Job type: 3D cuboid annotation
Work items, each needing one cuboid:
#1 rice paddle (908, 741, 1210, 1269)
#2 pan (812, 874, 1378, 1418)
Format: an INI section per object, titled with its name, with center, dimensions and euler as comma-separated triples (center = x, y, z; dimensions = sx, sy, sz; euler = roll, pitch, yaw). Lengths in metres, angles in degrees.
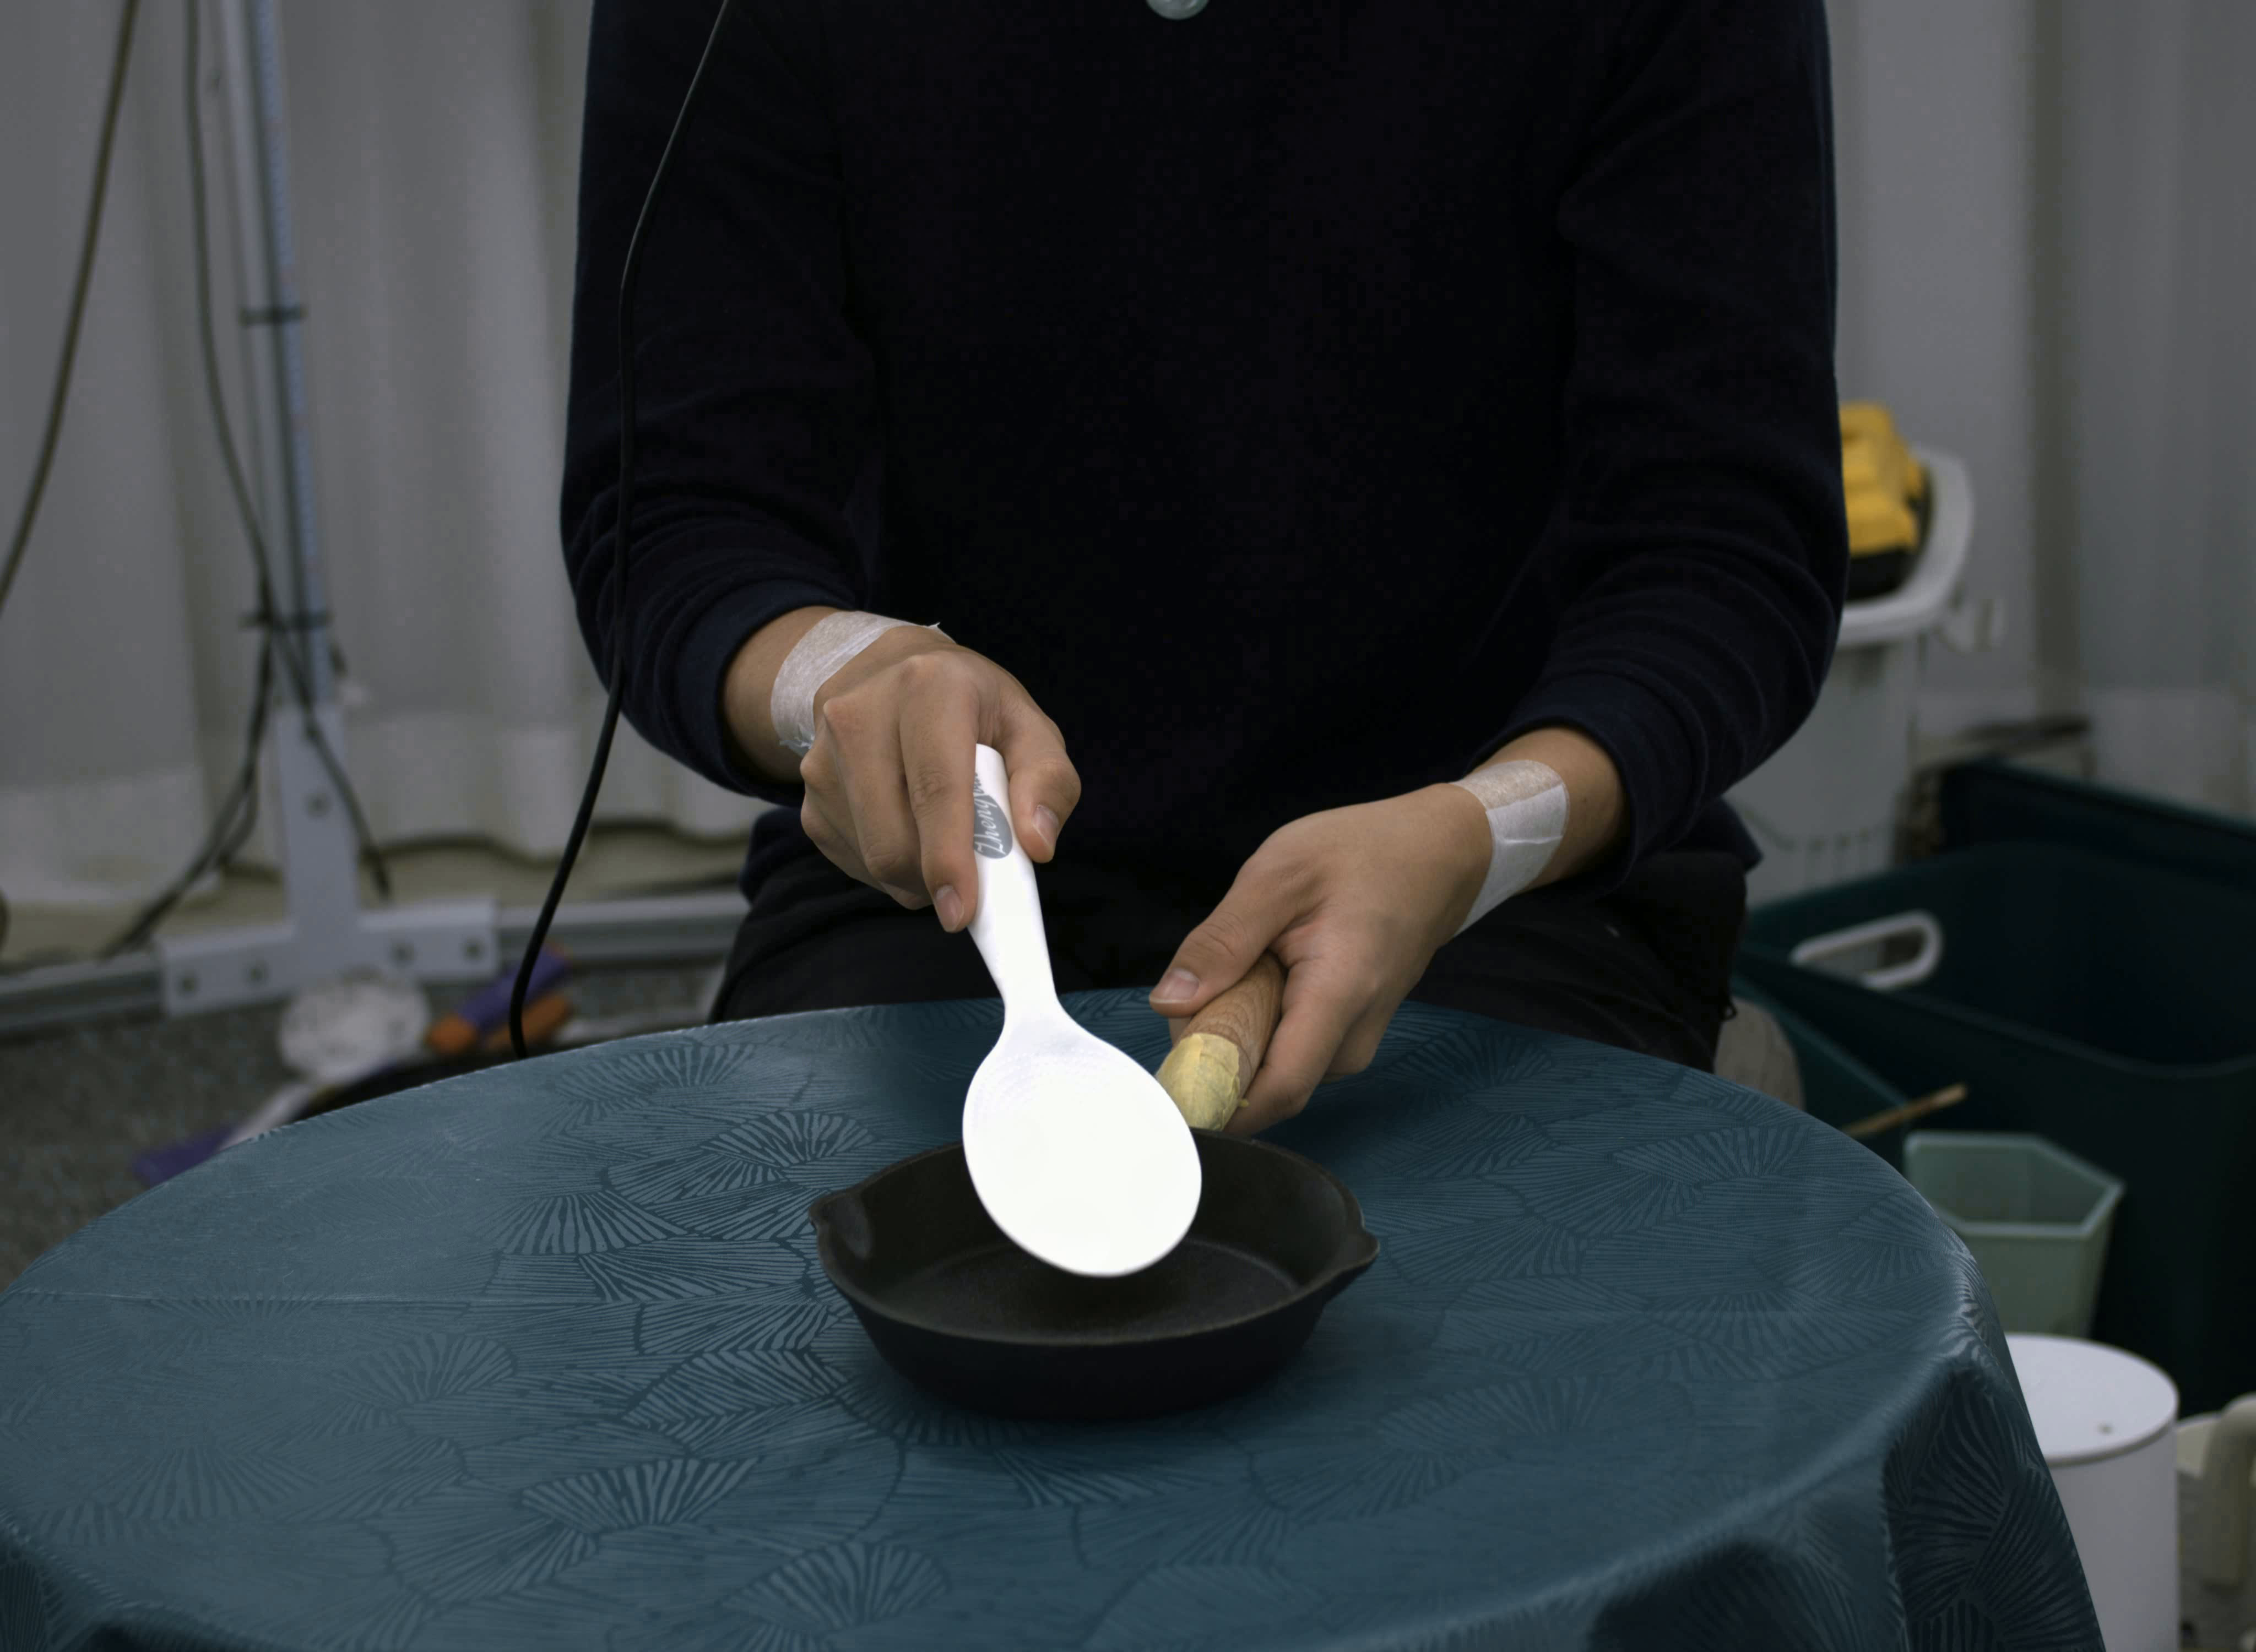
[rice paddle]
center = -0.026, 0.054, 1.643
dimensions = 0.068, 0.029, 0.208
euler = -8, 45, -14
[pan]
center = 0.015, 0.092, 1.646
dimensions = 0.169, 0.049, 0.326
euler = 4, 22, 18
